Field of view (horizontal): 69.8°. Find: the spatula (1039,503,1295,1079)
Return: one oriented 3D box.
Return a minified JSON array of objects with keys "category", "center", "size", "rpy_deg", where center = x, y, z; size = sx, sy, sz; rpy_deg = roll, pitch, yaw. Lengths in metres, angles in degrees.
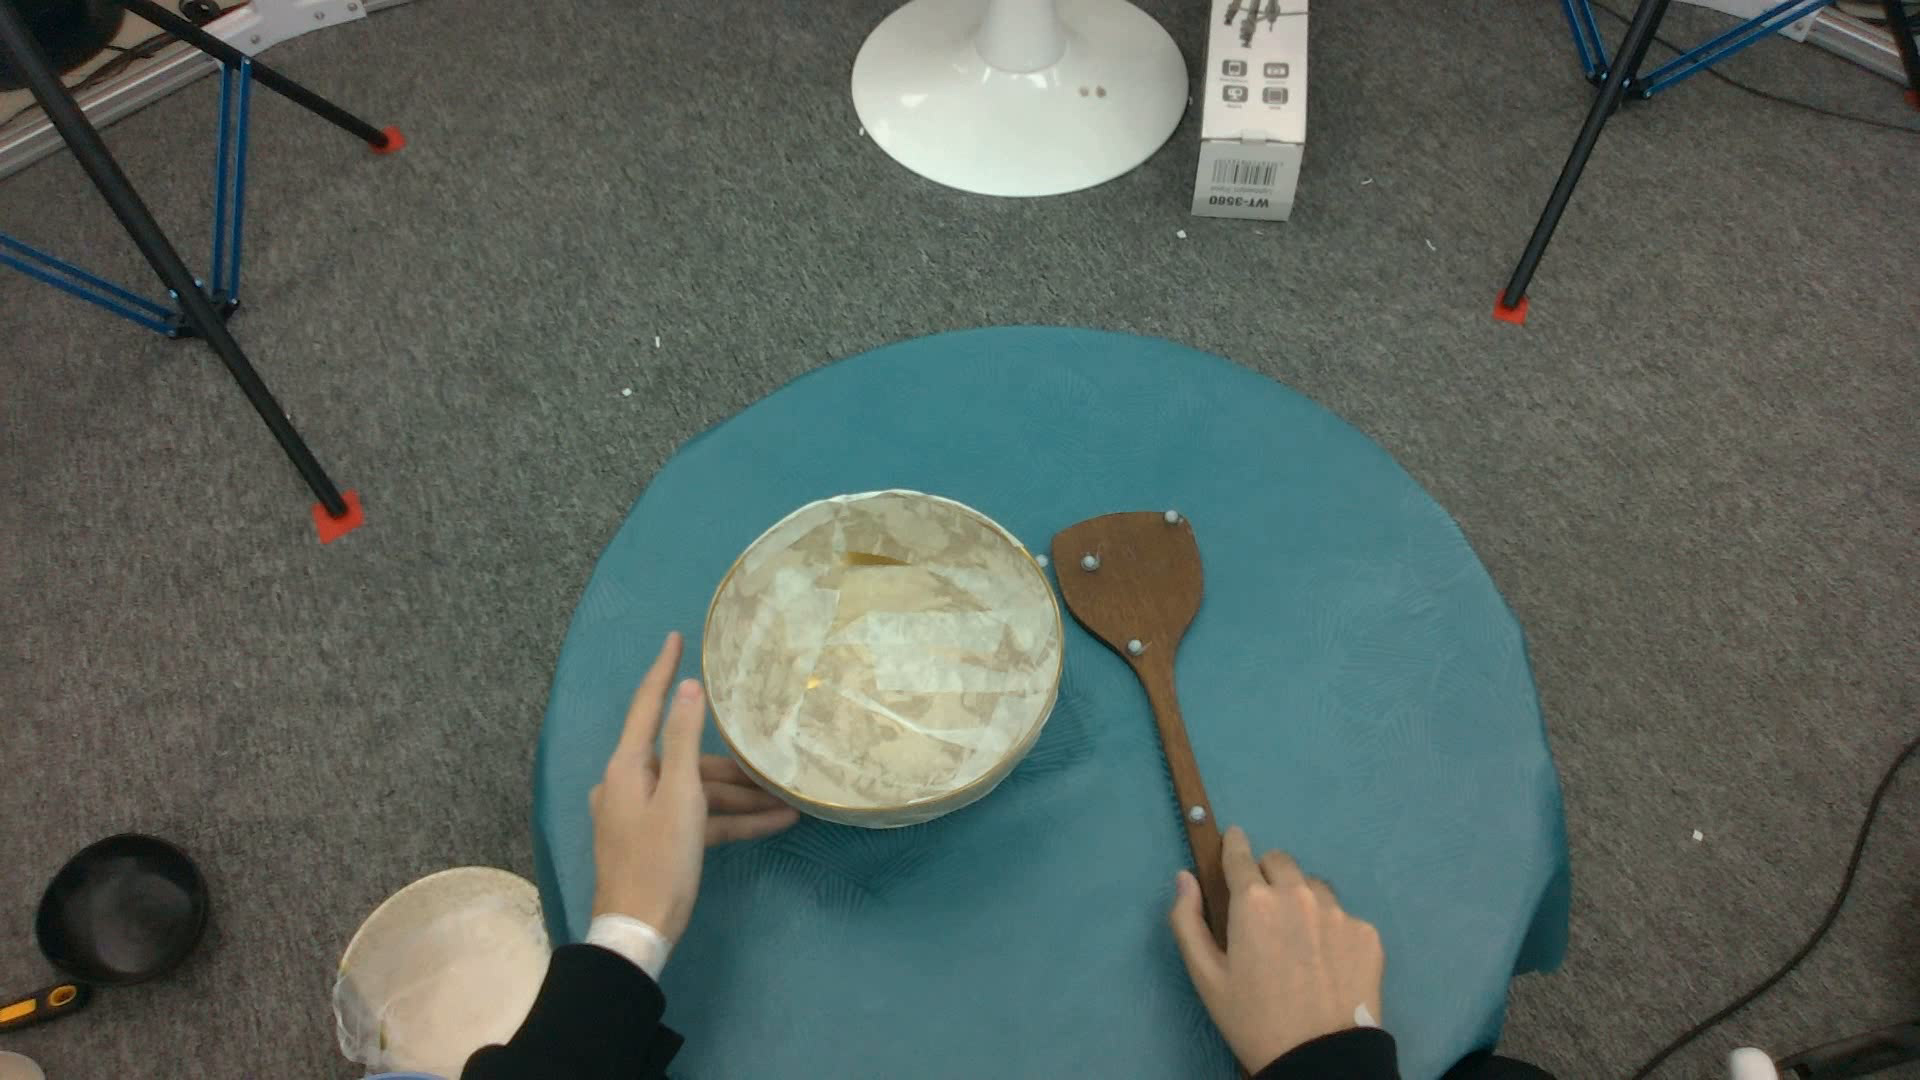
[{"category":"spatula","center":[0.126,0.136,0.791],"size":[0.096,0.016,0.387],"rpy_deg":[-9,56,-5]}]

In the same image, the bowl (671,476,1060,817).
[{"category":"bowl","center":[-0.051,0.074,0.786],"size":[0.215,0.094,0.215],"rpy_deg":[1,57,-1]}]
